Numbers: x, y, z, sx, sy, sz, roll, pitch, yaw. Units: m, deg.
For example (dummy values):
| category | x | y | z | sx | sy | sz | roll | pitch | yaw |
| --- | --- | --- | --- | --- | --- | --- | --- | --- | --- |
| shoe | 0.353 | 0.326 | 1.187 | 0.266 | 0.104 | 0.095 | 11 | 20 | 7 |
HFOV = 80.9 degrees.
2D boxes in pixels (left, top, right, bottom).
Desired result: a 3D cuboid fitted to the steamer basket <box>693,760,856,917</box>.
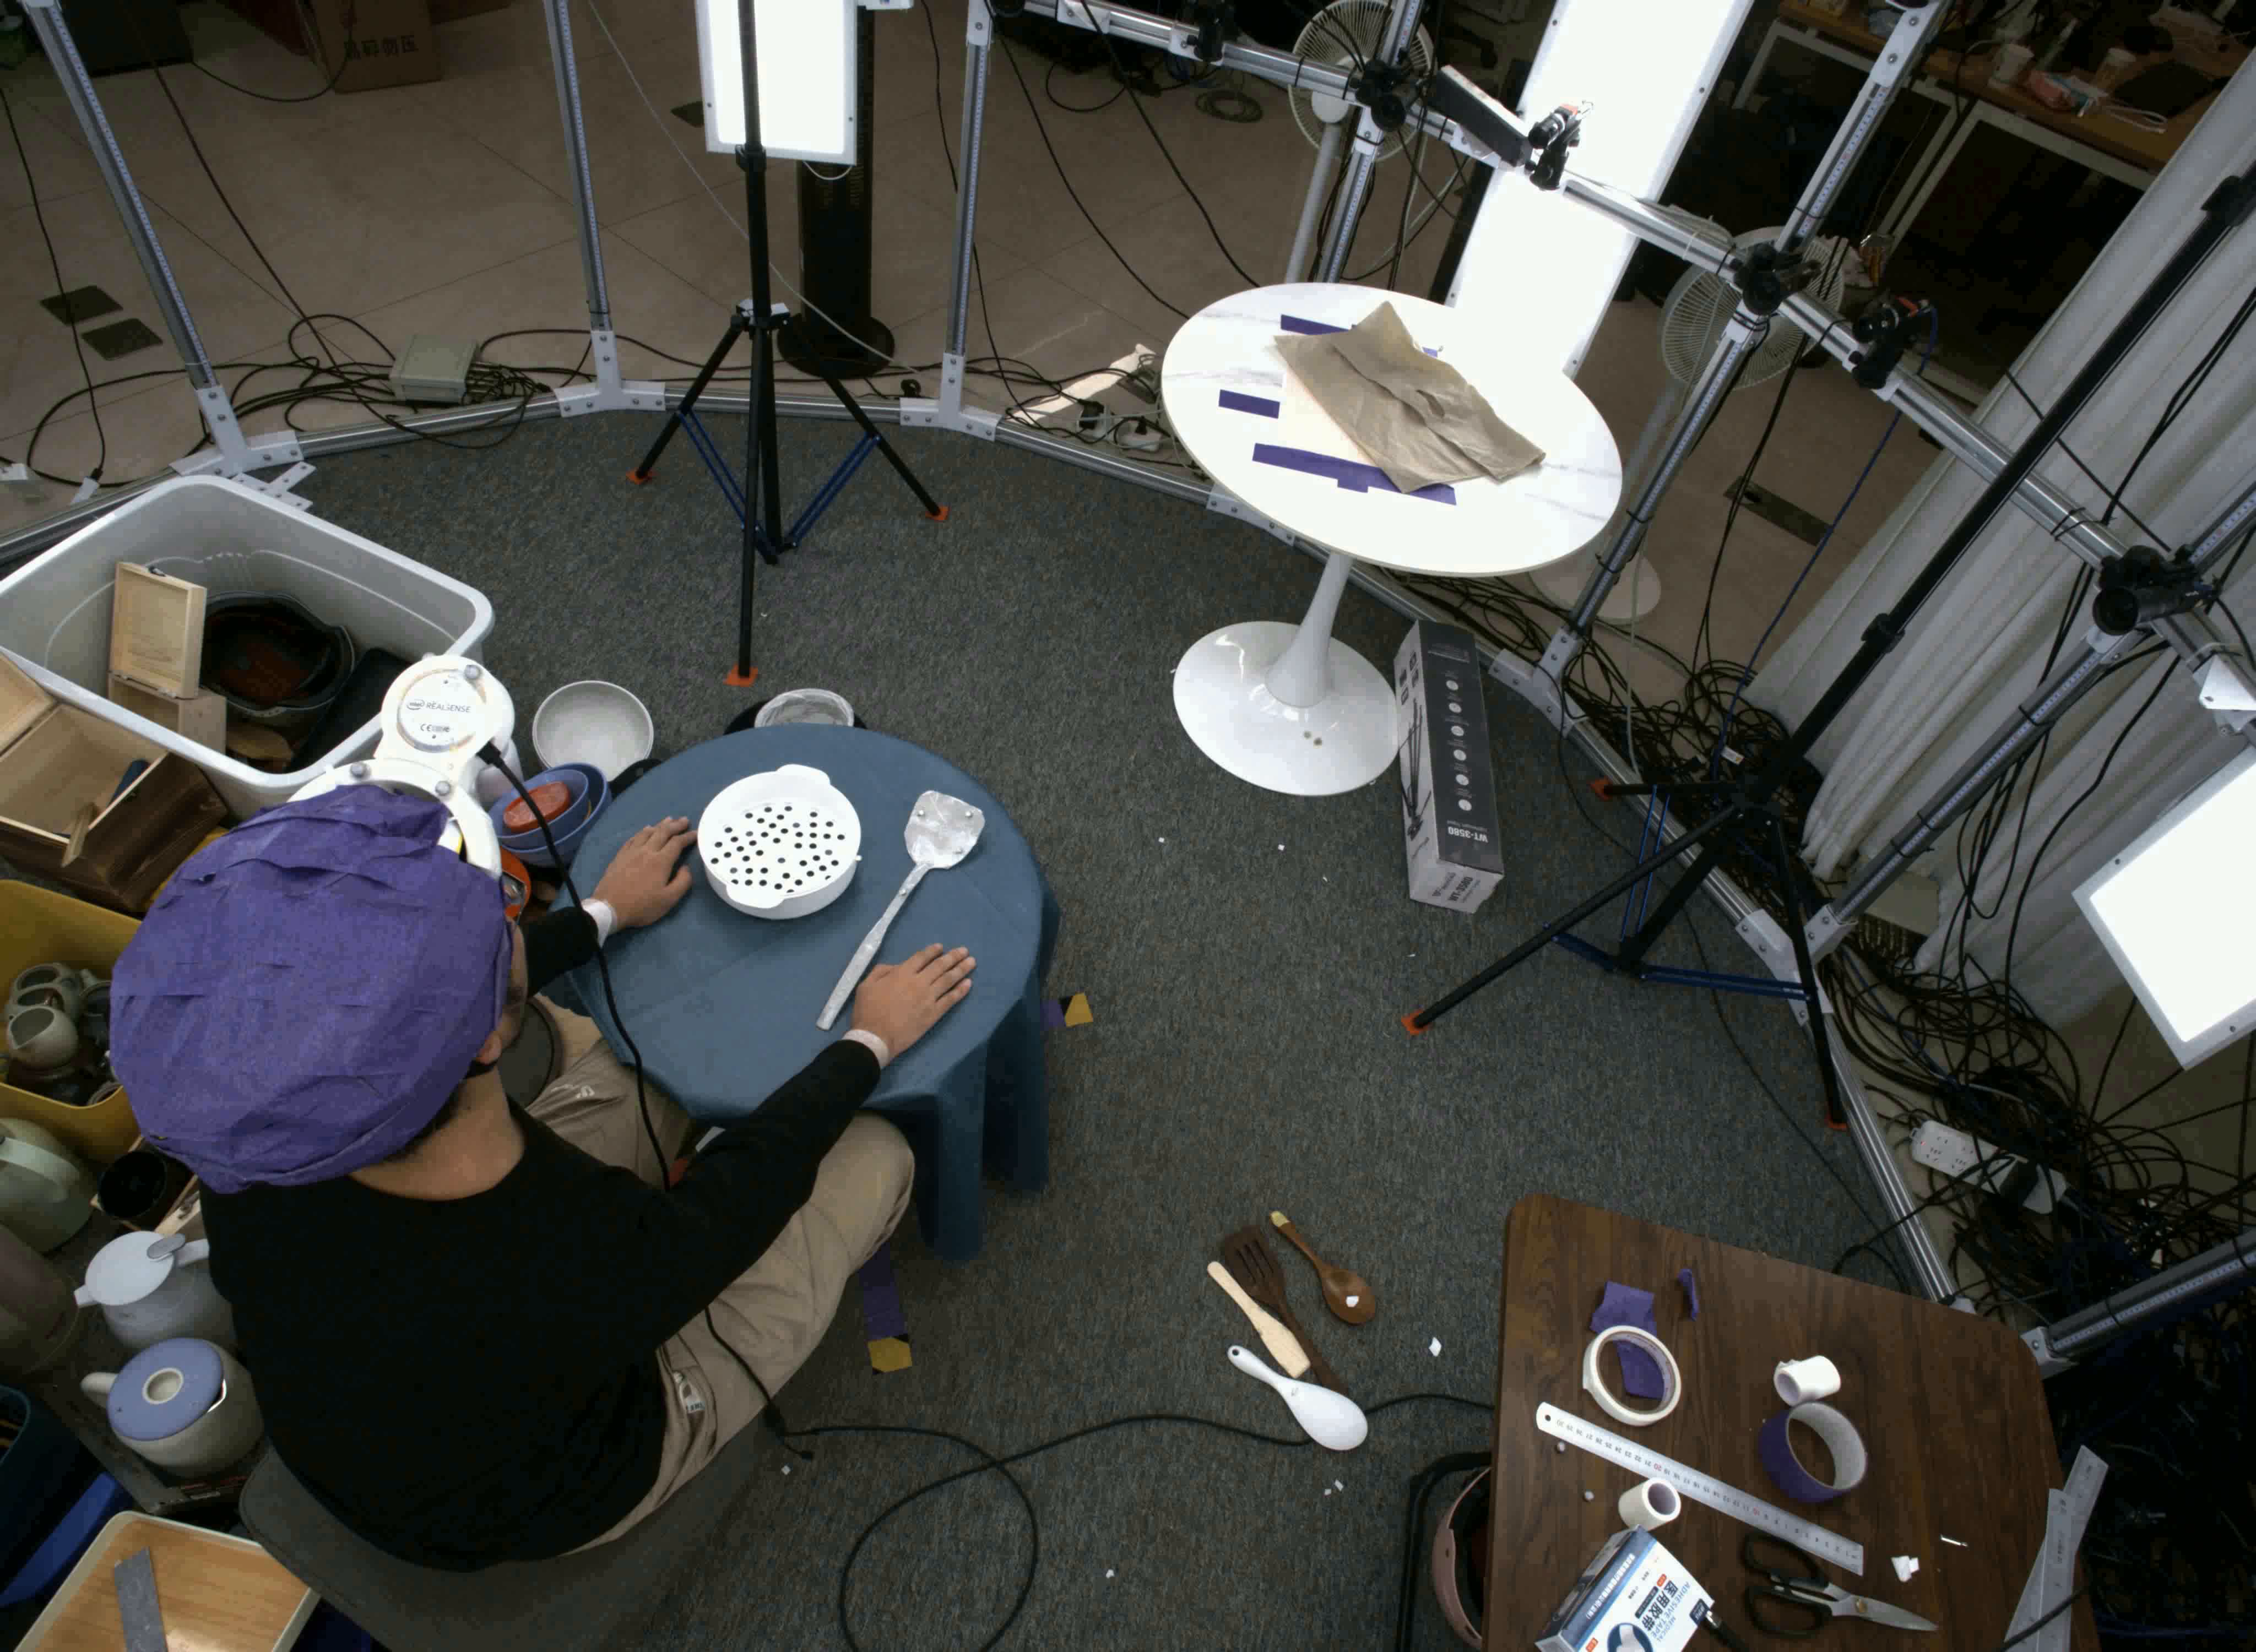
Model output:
| category | x | y | z | sx | sy | sz | roll | pitch | yaw |
| --- | --- | --- | --- | --- | --- | --- | --- | --- | --- |
| steamer basket | -0.448 | 0.021 | 1.652 | 0.200 | 0.070 | 0.227 | 13 | 52 | -3 |

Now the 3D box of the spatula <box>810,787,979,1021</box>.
| category | x | y | z | sx | sy | sz | roll | pitch | yaw |
| --- | --- | --- | --- | --- | --- | --- | --- | --- | --- |
| spatula | -0.304 | 0.096 | 1.654 | 0.098 | 0.045 | 0.362 | 25 | 52 | 3 |
